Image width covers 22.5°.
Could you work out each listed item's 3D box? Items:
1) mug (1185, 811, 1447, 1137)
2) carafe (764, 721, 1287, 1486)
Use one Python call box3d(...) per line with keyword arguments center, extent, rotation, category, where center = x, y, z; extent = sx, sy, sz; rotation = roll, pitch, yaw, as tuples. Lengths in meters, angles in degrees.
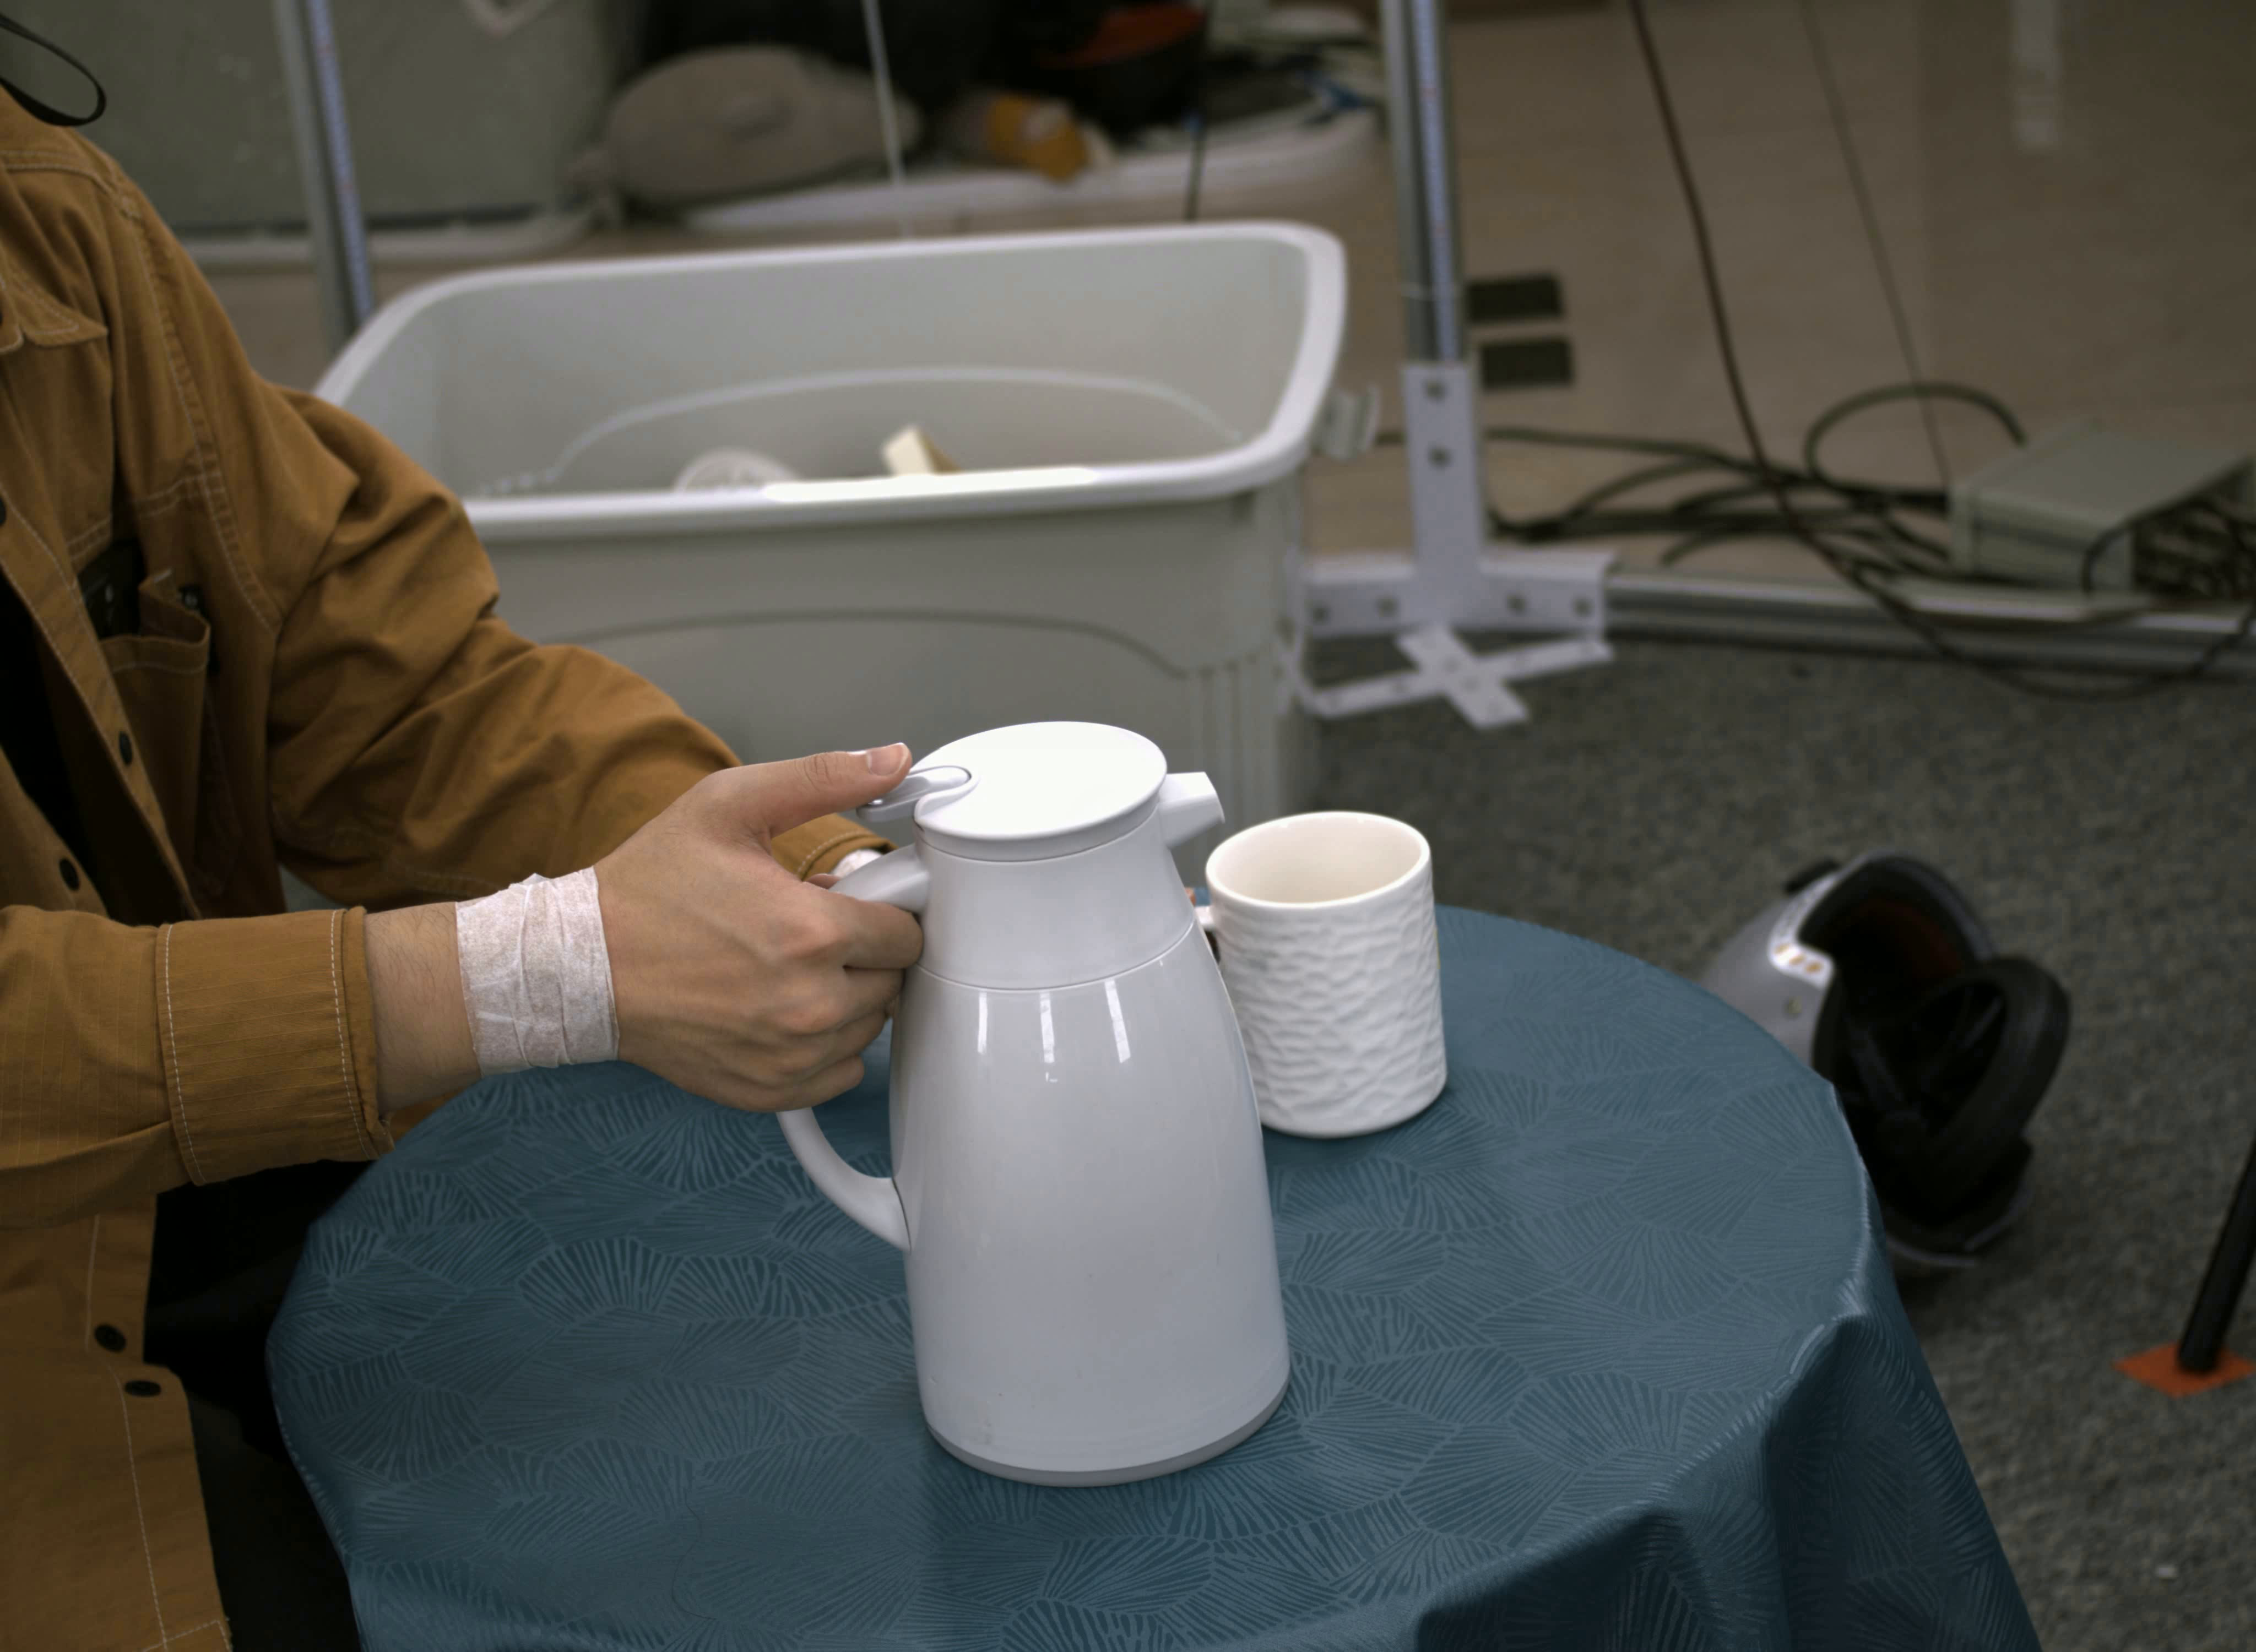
box3d(center=(0.062, 0.059, 2.181), extent=(0.118, 0.103, 0.084), rotation=(-7, 25, -2), category="mug")
box3d(center=(-0.039, 0.093, 1.960), extent=(0.167, 0.253, 0.130), rotation=(-11, 27, -9), category="carafe")
